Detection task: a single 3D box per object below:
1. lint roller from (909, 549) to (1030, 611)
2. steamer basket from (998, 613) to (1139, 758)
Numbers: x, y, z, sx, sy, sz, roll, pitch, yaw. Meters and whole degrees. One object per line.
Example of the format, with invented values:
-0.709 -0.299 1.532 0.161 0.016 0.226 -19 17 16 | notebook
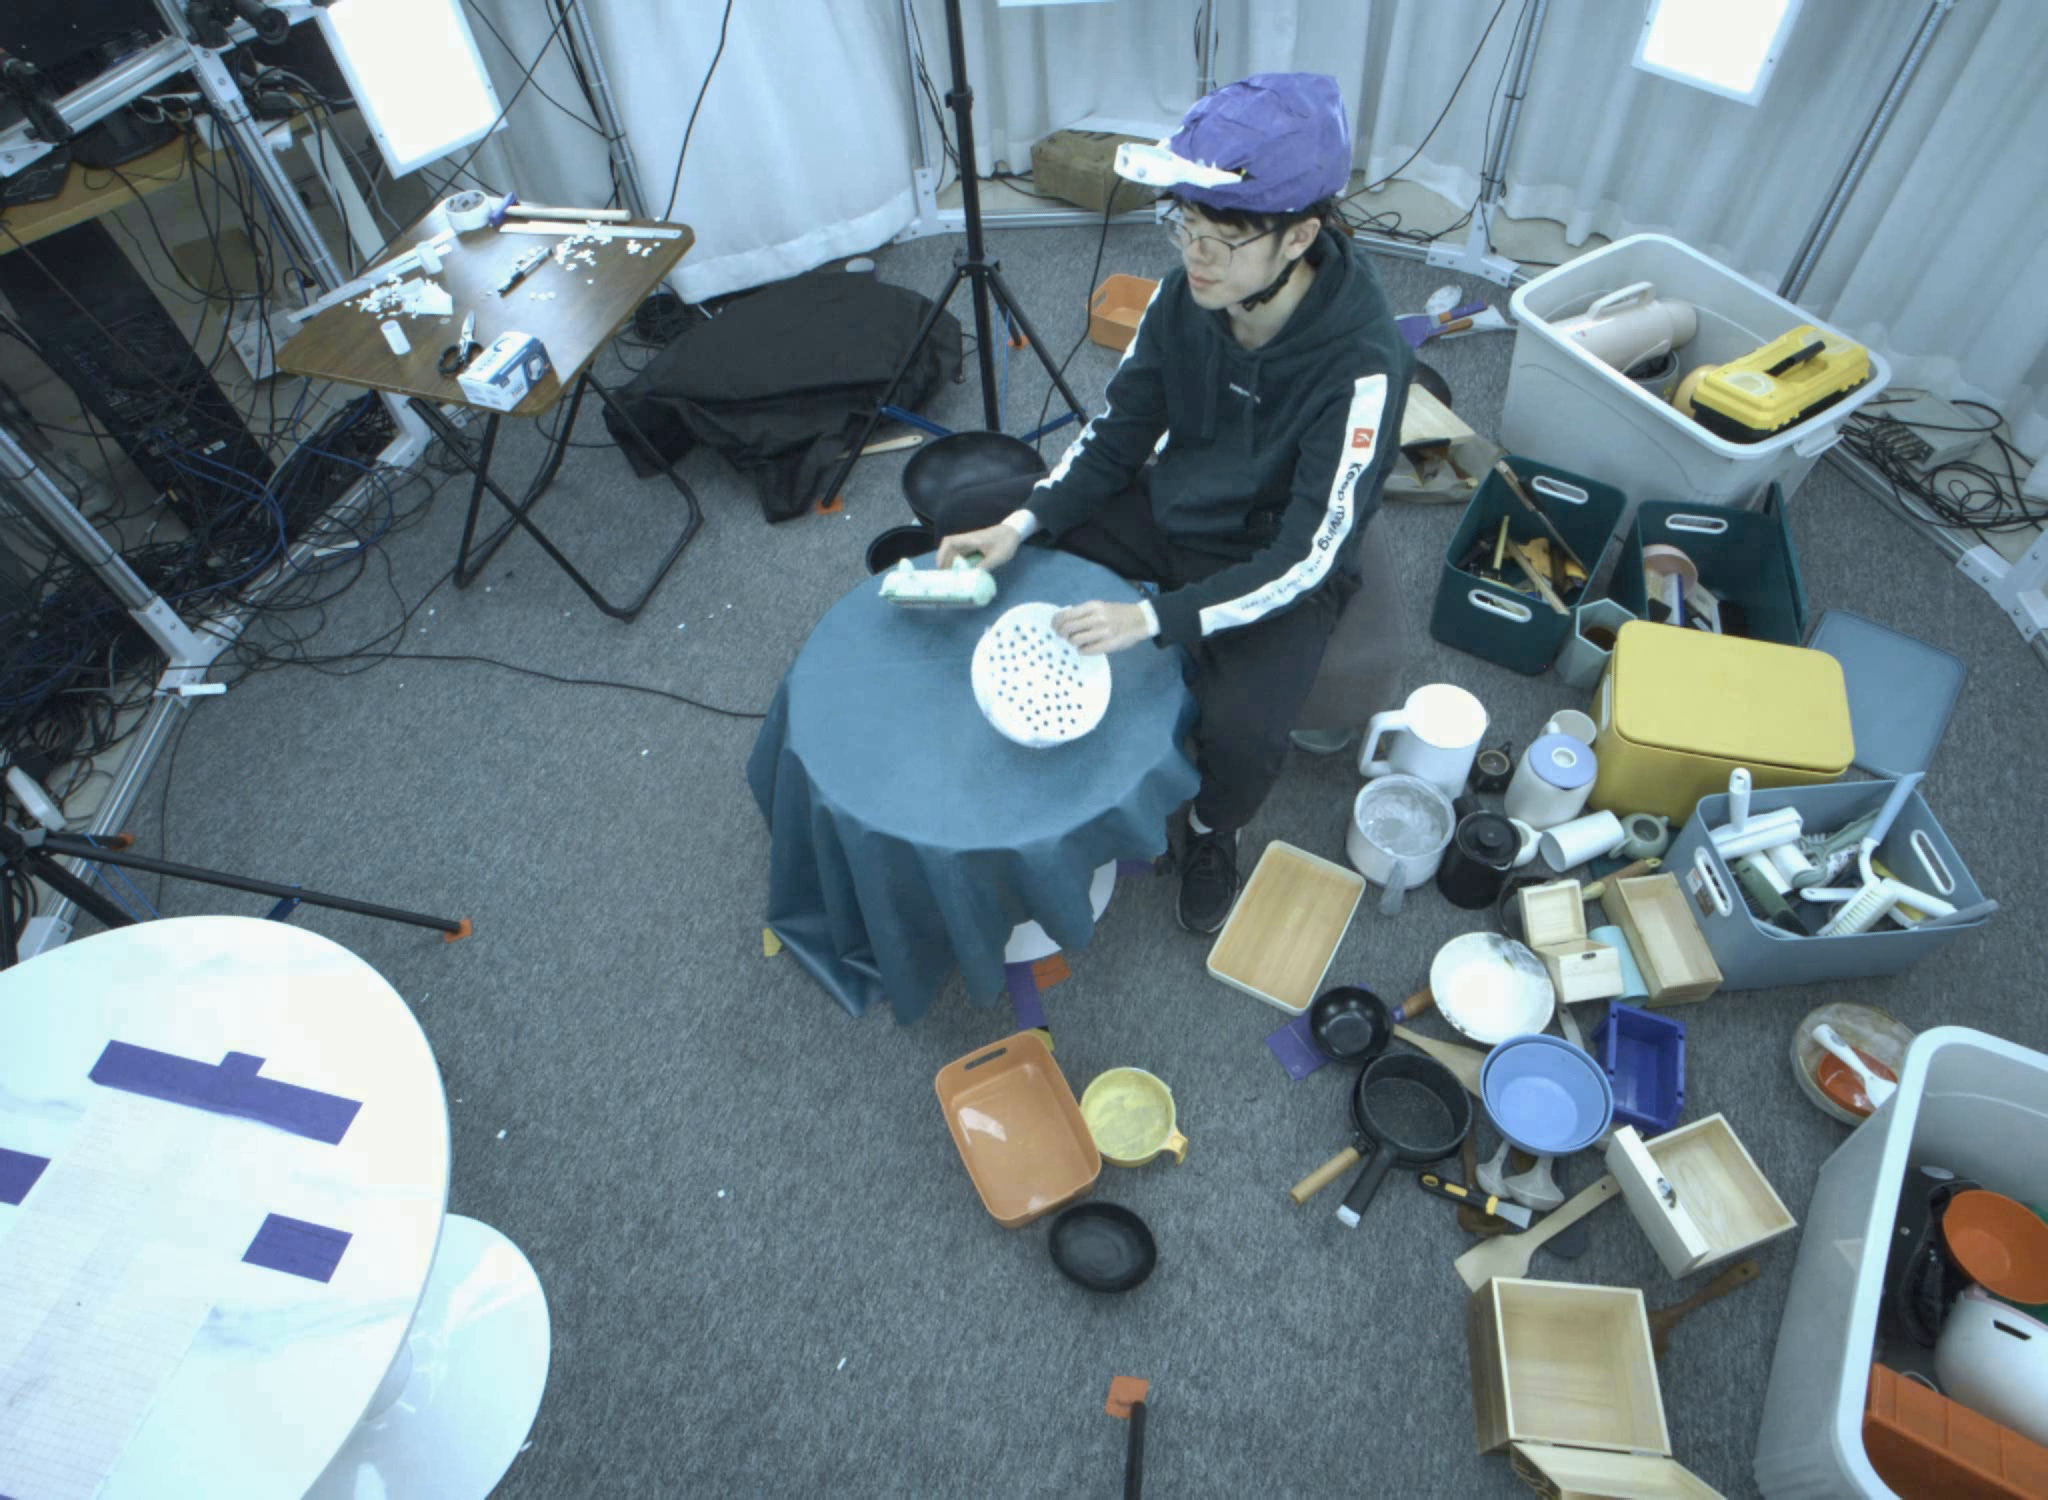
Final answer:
-0.057 -0.284 1.898 0.194 0.083 0.184 10 45 39 | lint roller
0.061 -0.088 1.729 0.204 0.068 0.231 41 62 -13 | steamer basket
